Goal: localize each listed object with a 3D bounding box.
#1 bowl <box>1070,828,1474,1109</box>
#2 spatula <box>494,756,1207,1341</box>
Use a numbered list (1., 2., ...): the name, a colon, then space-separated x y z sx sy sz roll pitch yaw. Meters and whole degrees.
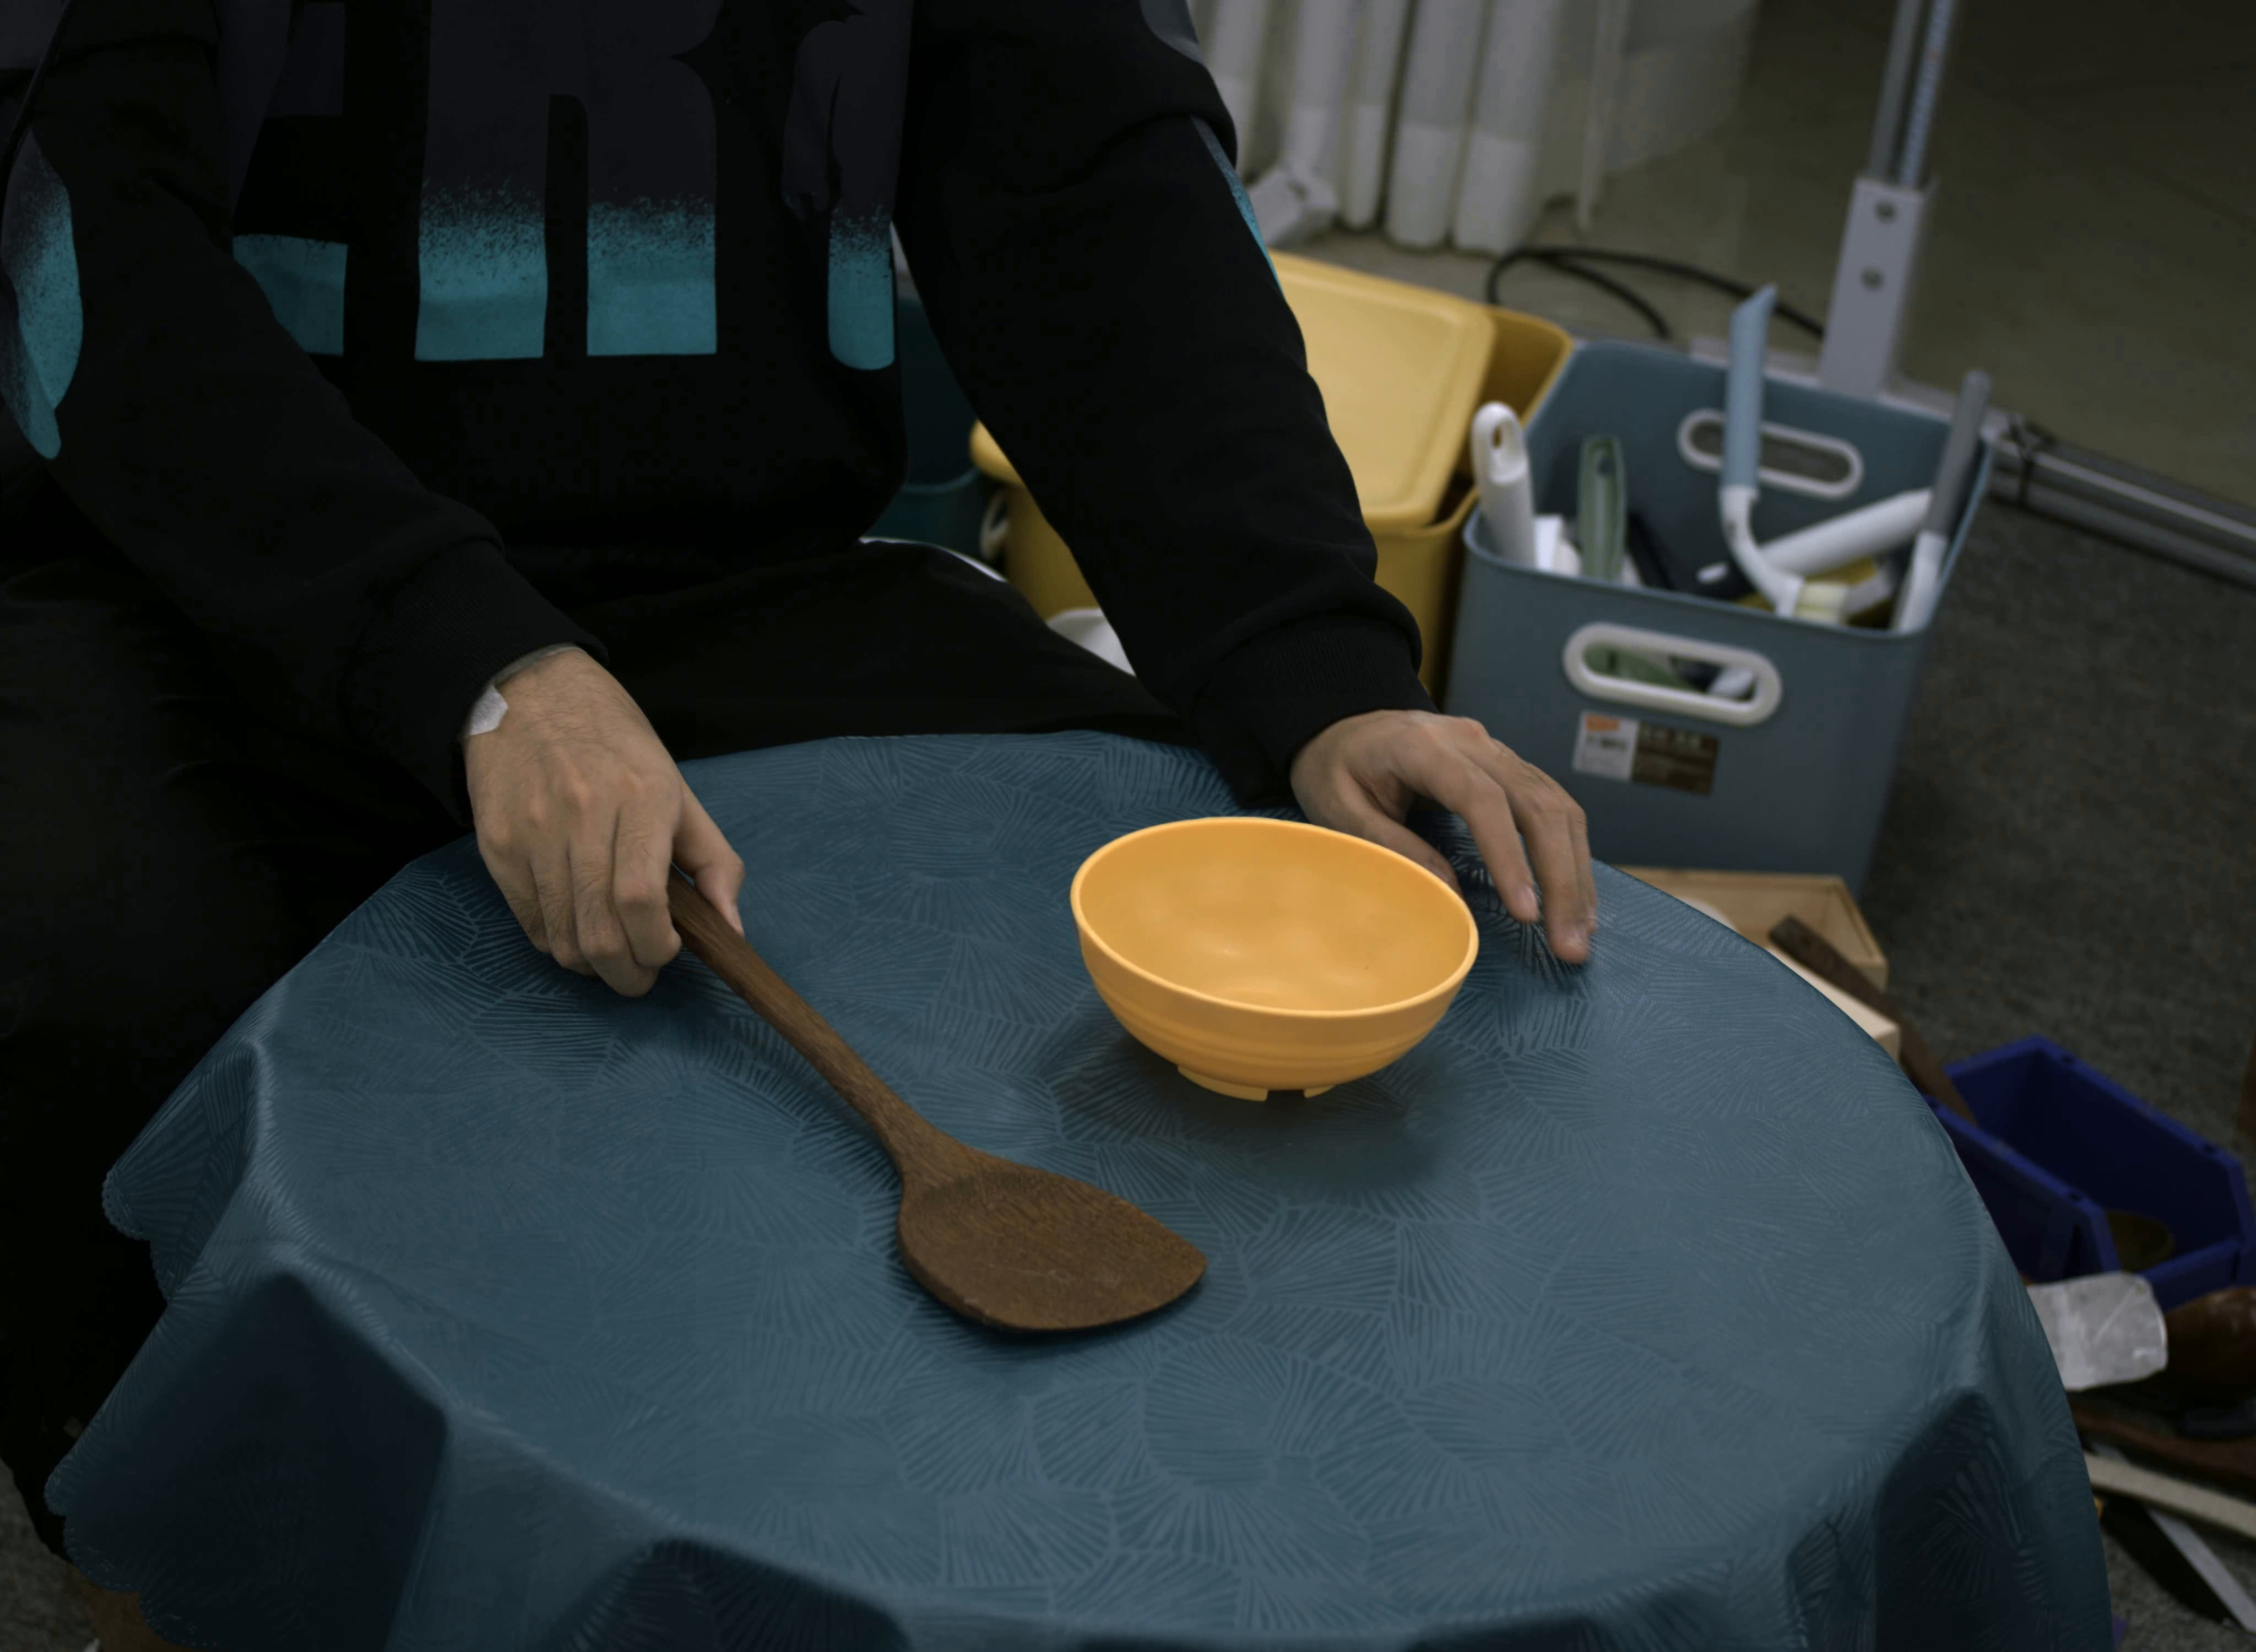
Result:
1. bowl: 0.047 0.059 1.880 0.145 0.060 0.146 7 24 -4
2. spatula: -0.115 0.068 1.844 0.095 0.016 0.389 -12 37 -36
